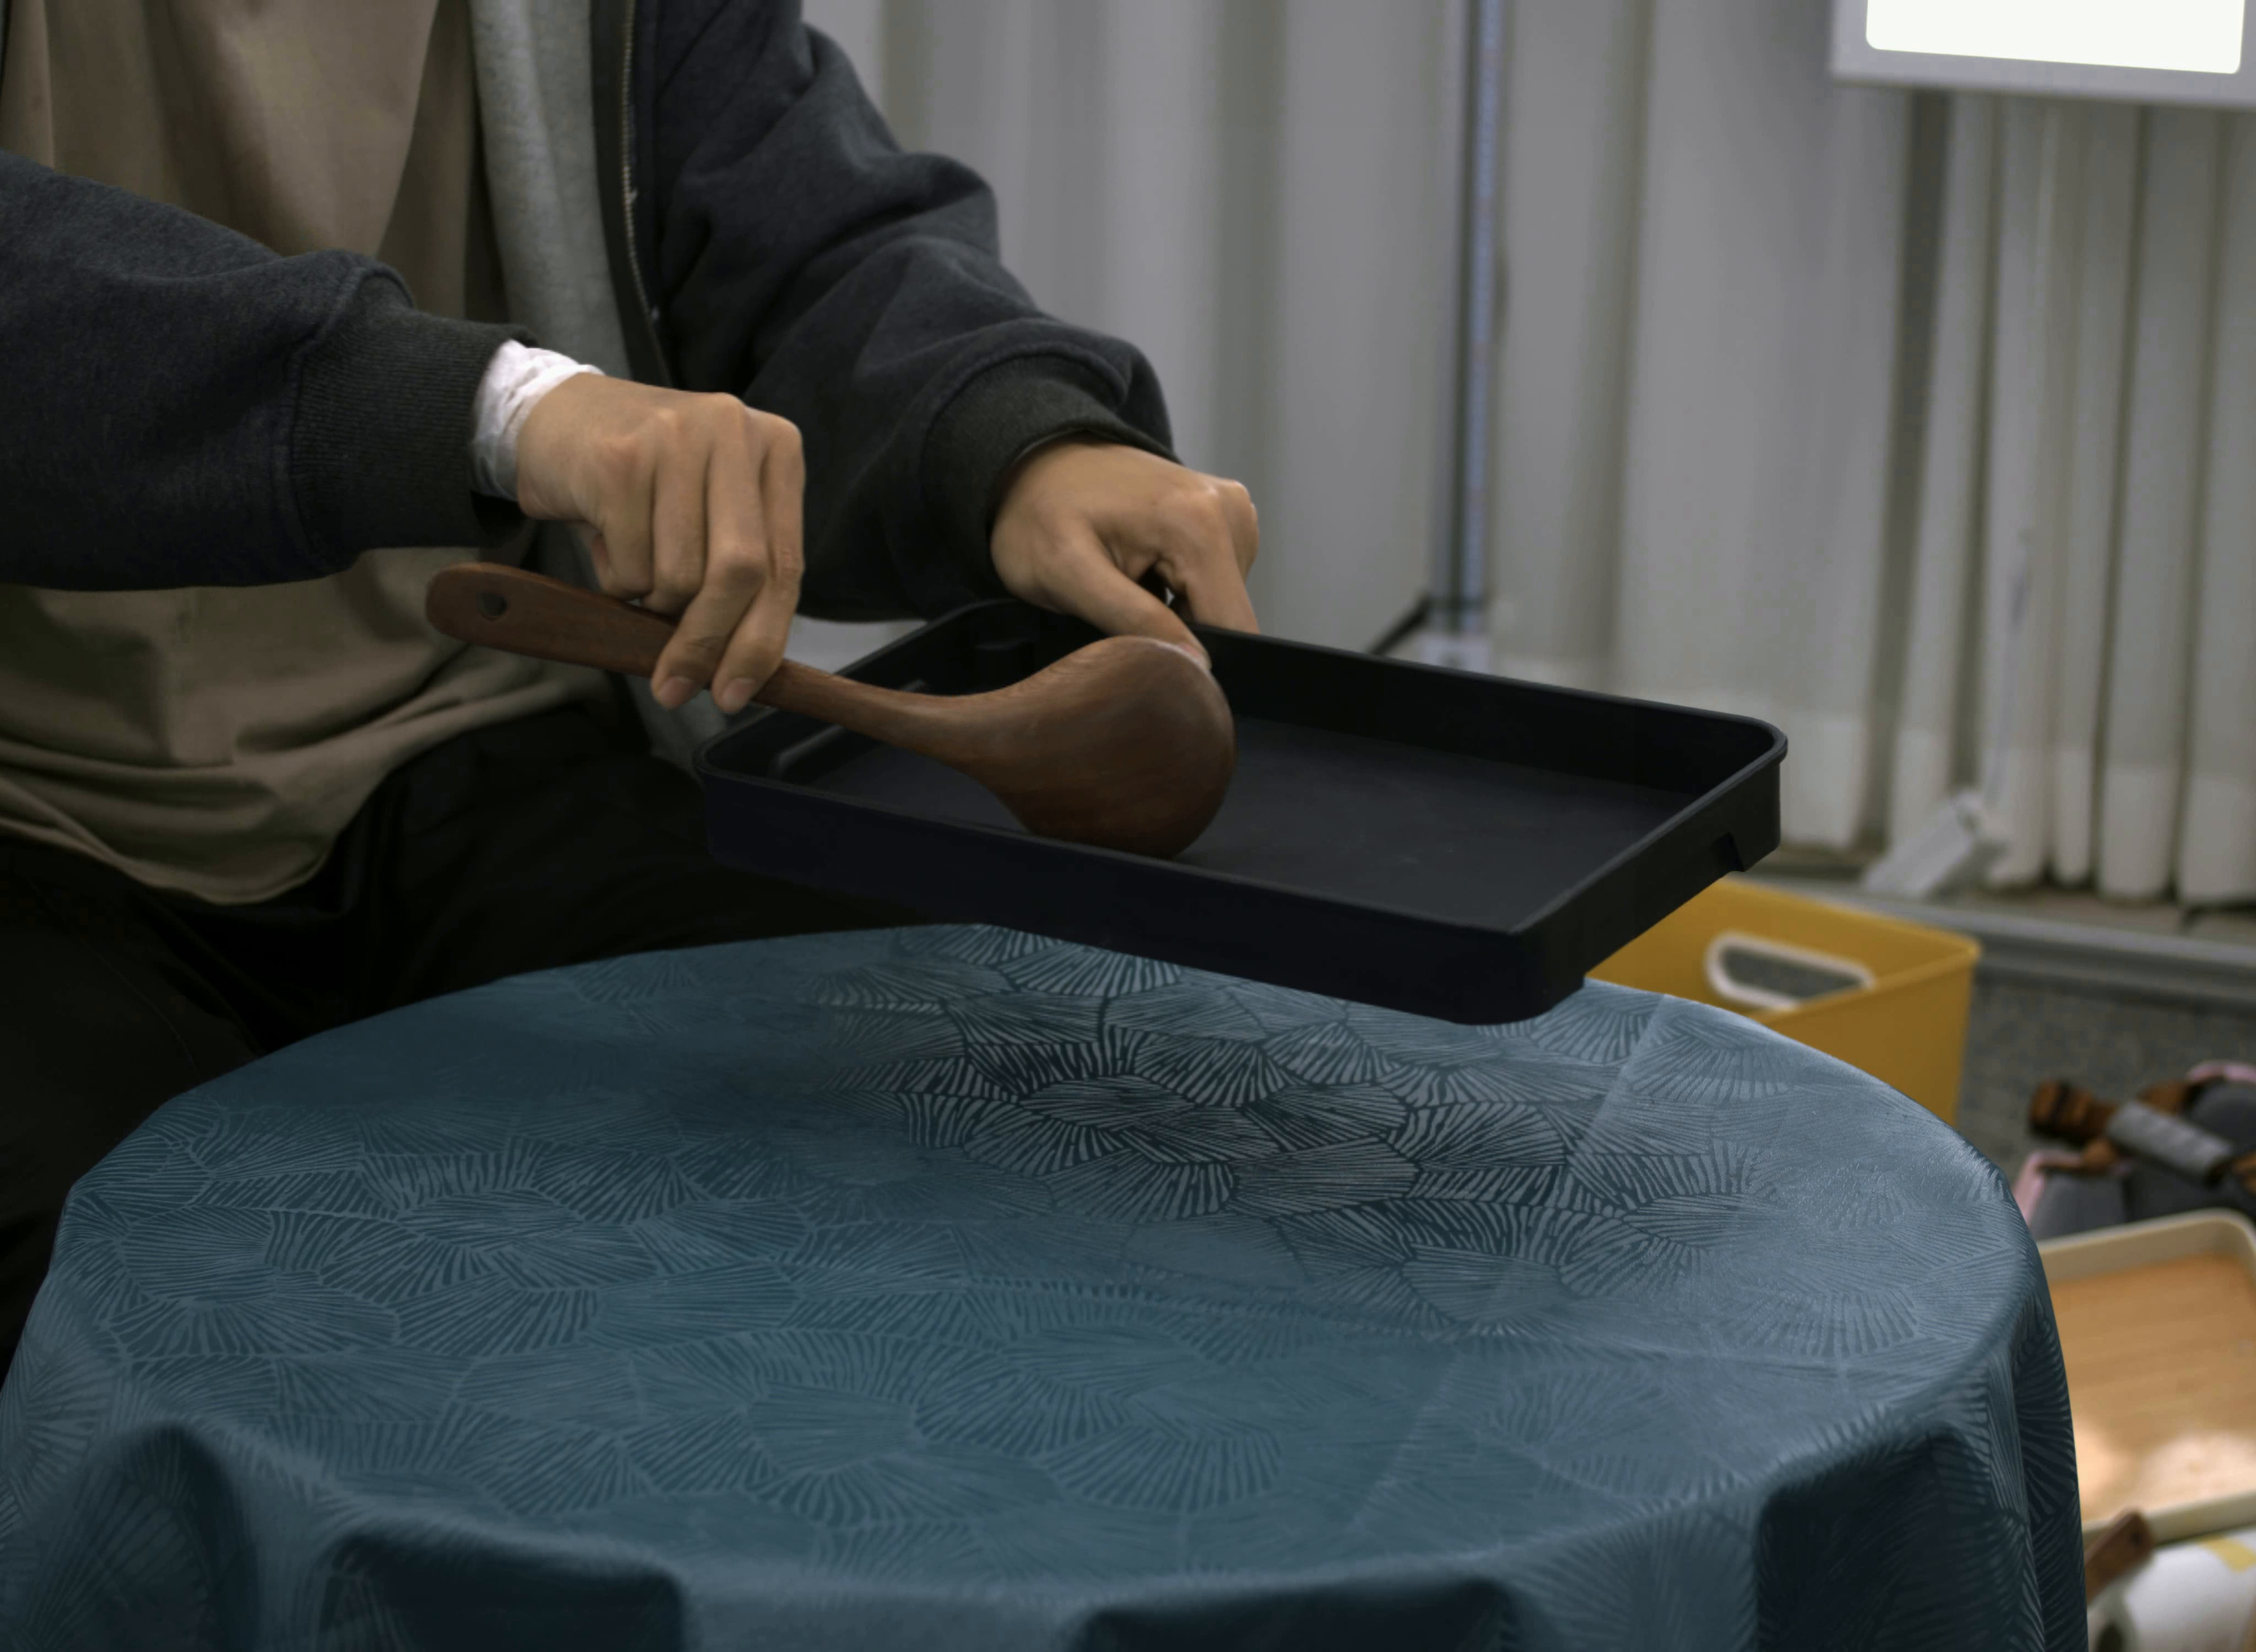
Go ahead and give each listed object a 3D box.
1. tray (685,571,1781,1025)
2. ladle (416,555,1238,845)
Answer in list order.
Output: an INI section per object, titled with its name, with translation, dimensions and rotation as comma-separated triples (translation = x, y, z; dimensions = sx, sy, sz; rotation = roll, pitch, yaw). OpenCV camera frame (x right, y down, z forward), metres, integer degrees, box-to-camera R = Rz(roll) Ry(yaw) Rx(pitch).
[tray]
translation = 0.032, -0.014, 1.667
dimensions = 0.314, 0.037, 0.184
rotation = 13, 27, 32
[ladle]
translation = -0.093, -0.047, 1.647
dimensions = 0.258, 0.077, 0.065
rotation = 15, 14, 8
